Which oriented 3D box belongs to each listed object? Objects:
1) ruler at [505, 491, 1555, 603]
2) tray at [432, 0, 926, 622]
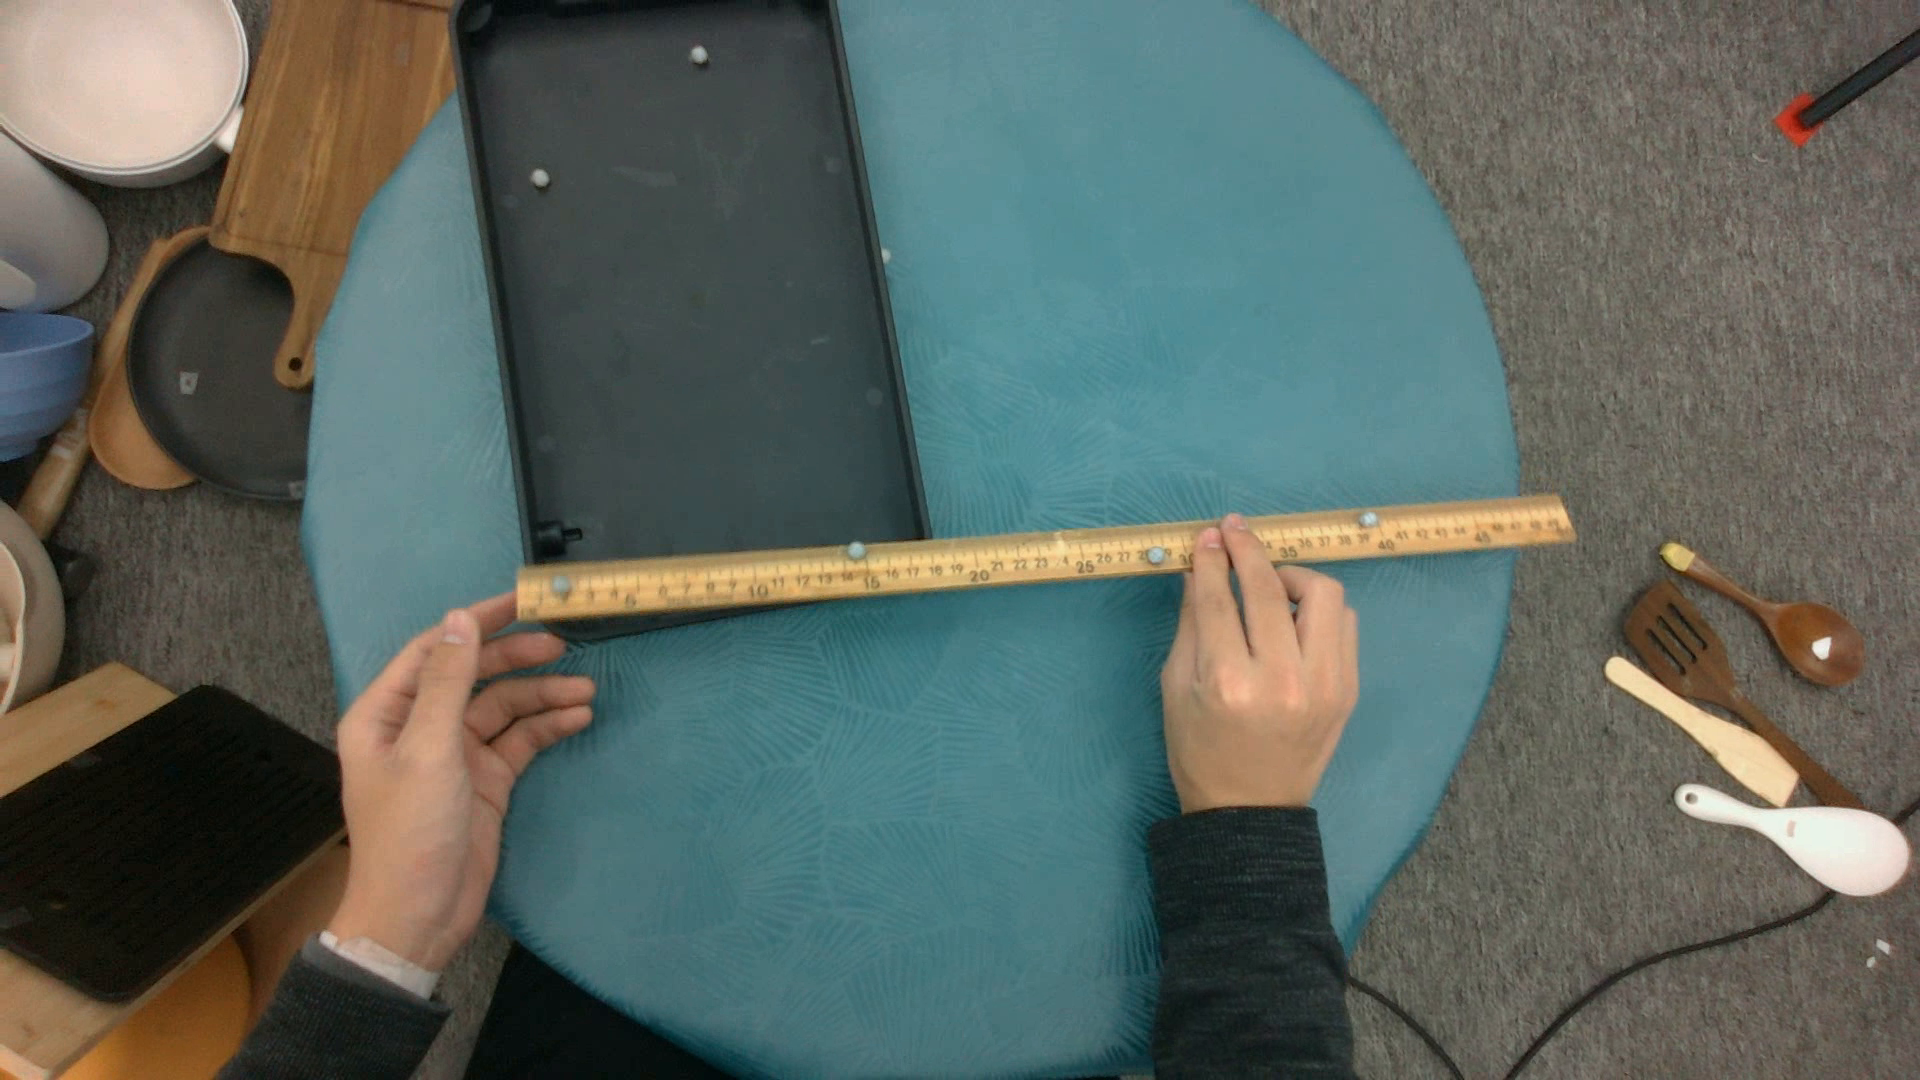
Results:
[{"bbox_3d":[0.051,0.001,0.638,0.501,0.006,0.027,-3,64,-12],"label":"ruler"},{"bbox_3d":[-0.135,-0.128,0.662,0.184,0.037,0.318,-11,83,-9],"label":"tray"}]
